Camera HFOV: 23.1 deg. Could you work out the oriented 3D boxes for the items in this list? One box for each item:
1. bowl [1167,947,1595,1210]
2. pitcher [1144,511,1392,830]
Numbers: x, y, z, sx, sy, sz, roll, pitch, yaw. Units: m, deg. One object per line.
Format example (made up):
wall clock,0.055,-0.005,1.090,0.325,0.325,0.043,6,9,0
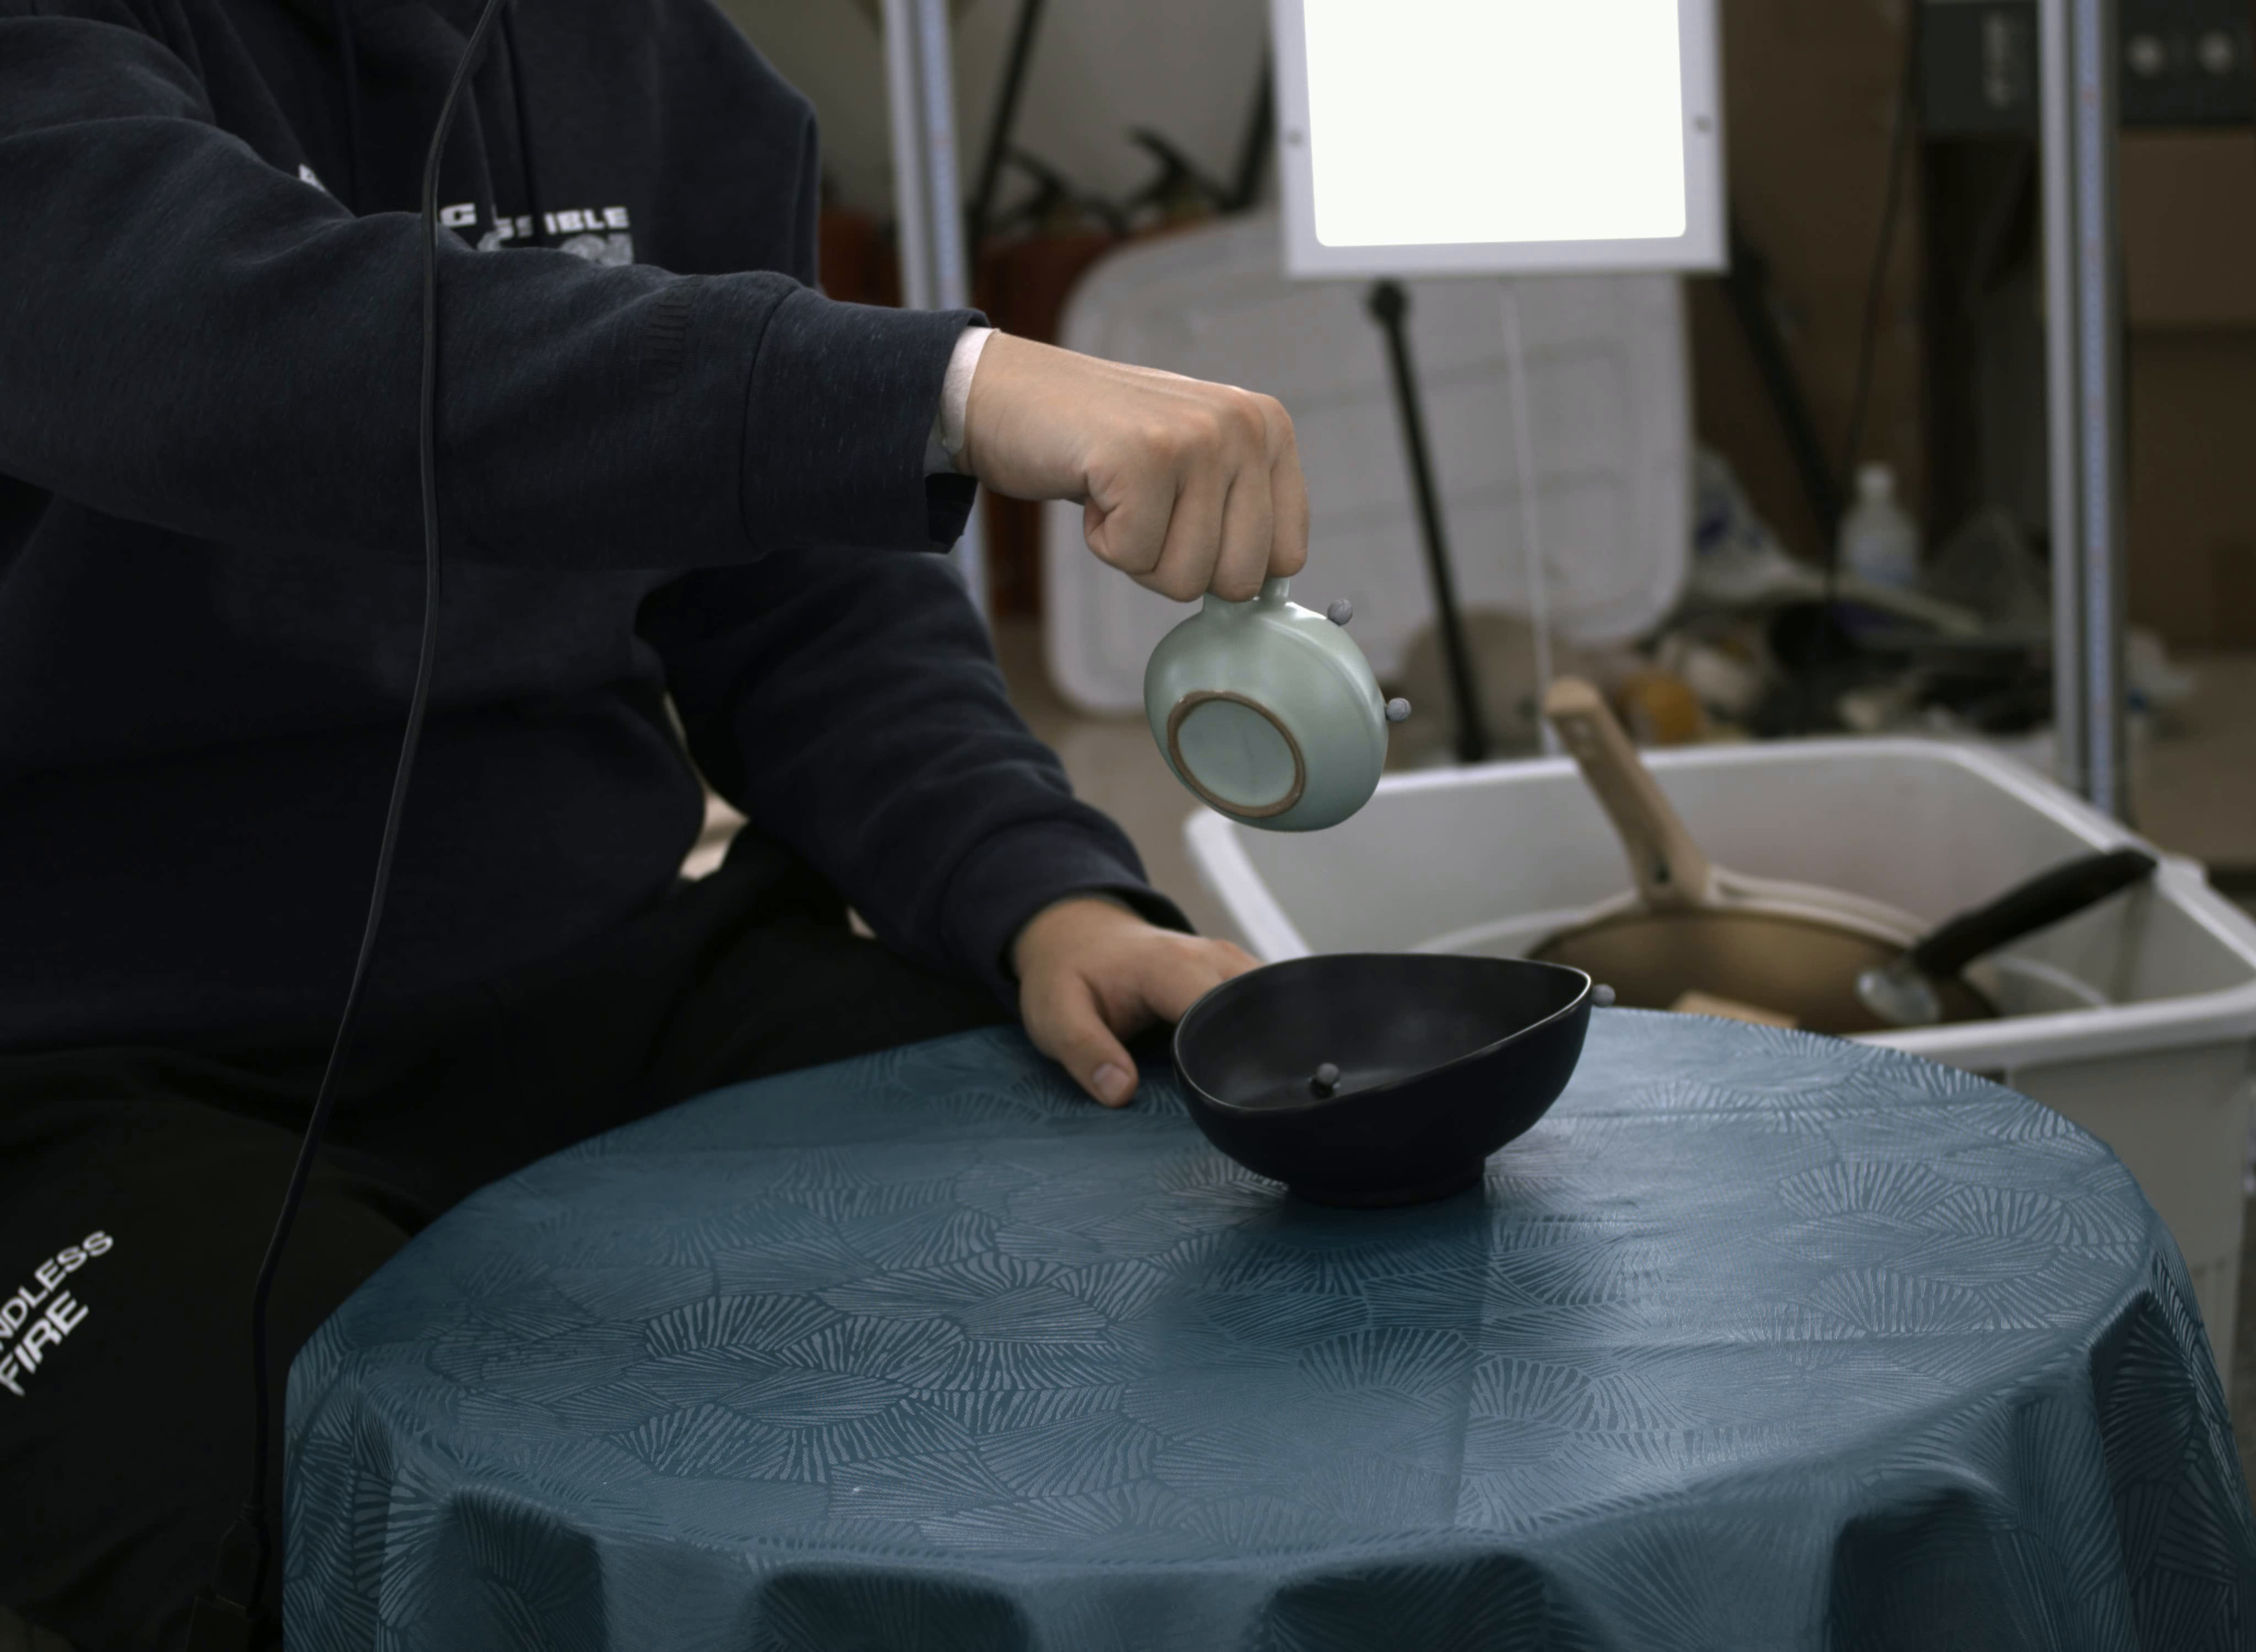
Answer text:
bowl,0.089,0.090,1.883,0.140,0.067,0.166,4,17,35
pitcher,0.046,-0.049,1.790,0.088,0.108,0.059,1,36,32
